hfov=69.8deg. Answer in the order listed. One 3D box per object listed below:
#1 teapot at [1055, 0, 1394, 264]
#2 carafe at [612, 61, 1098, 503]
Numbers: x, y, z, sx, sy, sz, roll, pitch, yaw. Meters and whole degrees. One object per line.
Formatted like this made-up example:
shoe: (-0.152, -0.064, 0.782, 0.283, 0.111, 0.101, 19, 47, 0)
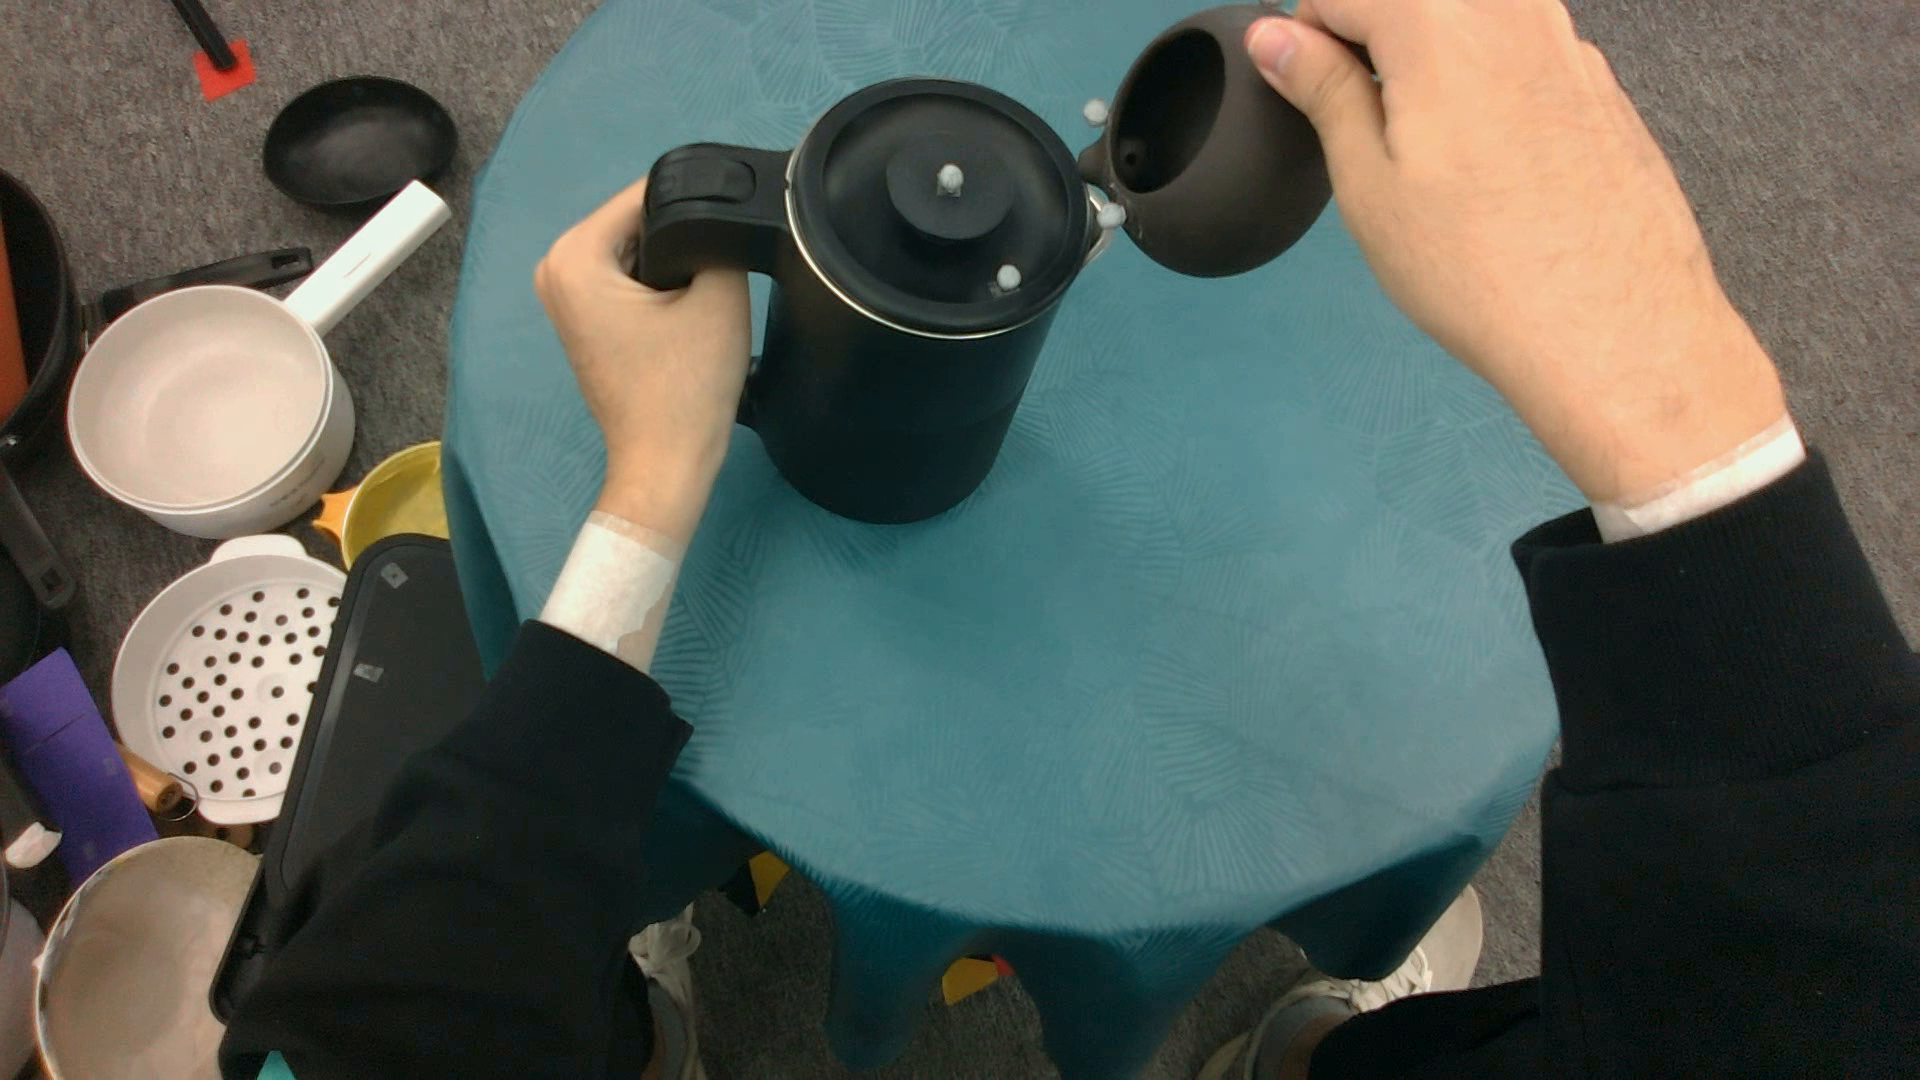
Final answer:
teapot: (0.081, -0.130, 0.427, 0.053, 0.114, 0.083, 13, 82, -34)
carafe: (-0.049, -0.099, 0.546, 0.172, 0.172, 0.115, 3, 69, -13)
